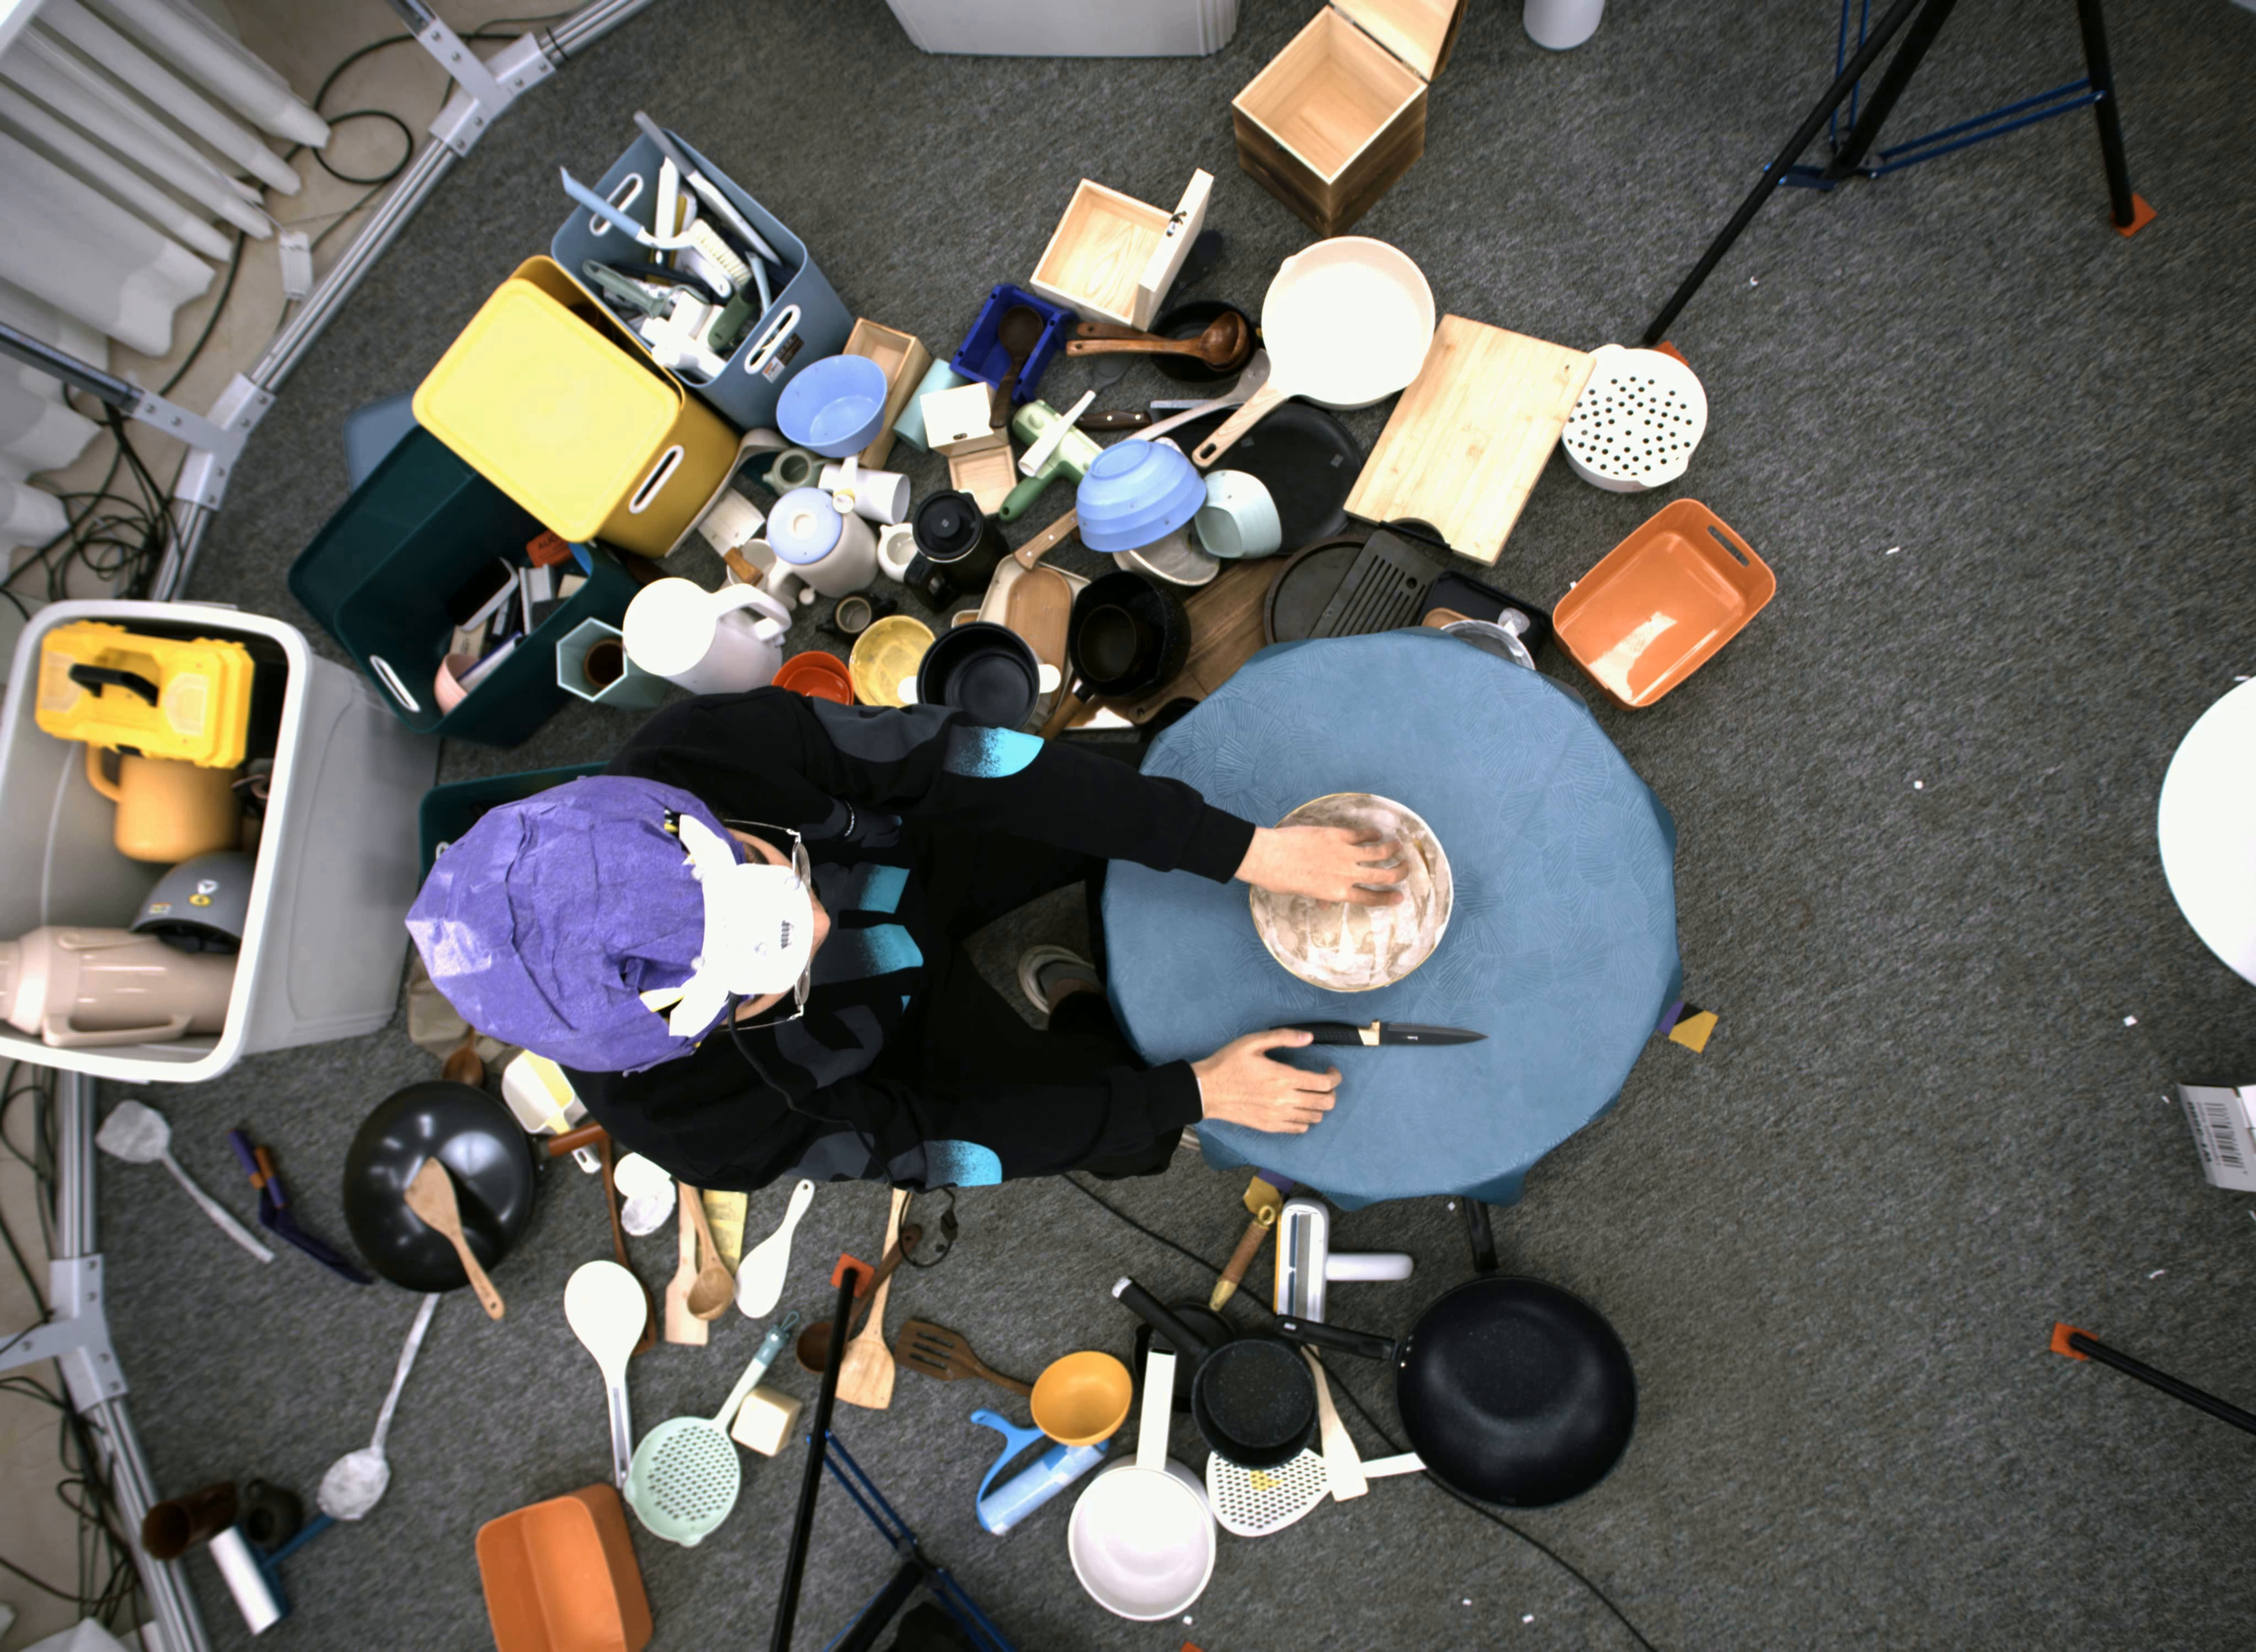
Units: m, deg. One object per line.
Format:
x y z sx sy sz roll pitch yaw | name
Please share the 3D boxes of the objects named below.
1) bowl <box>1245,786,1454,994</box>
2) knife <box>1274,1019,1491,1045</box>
0.224 0.067 1.420 0.215 0.094 0.214 -1 87 9 | bowl
0.265 0.214 1.448 0.226 0.017 0.026 -2 79 9 | knife
